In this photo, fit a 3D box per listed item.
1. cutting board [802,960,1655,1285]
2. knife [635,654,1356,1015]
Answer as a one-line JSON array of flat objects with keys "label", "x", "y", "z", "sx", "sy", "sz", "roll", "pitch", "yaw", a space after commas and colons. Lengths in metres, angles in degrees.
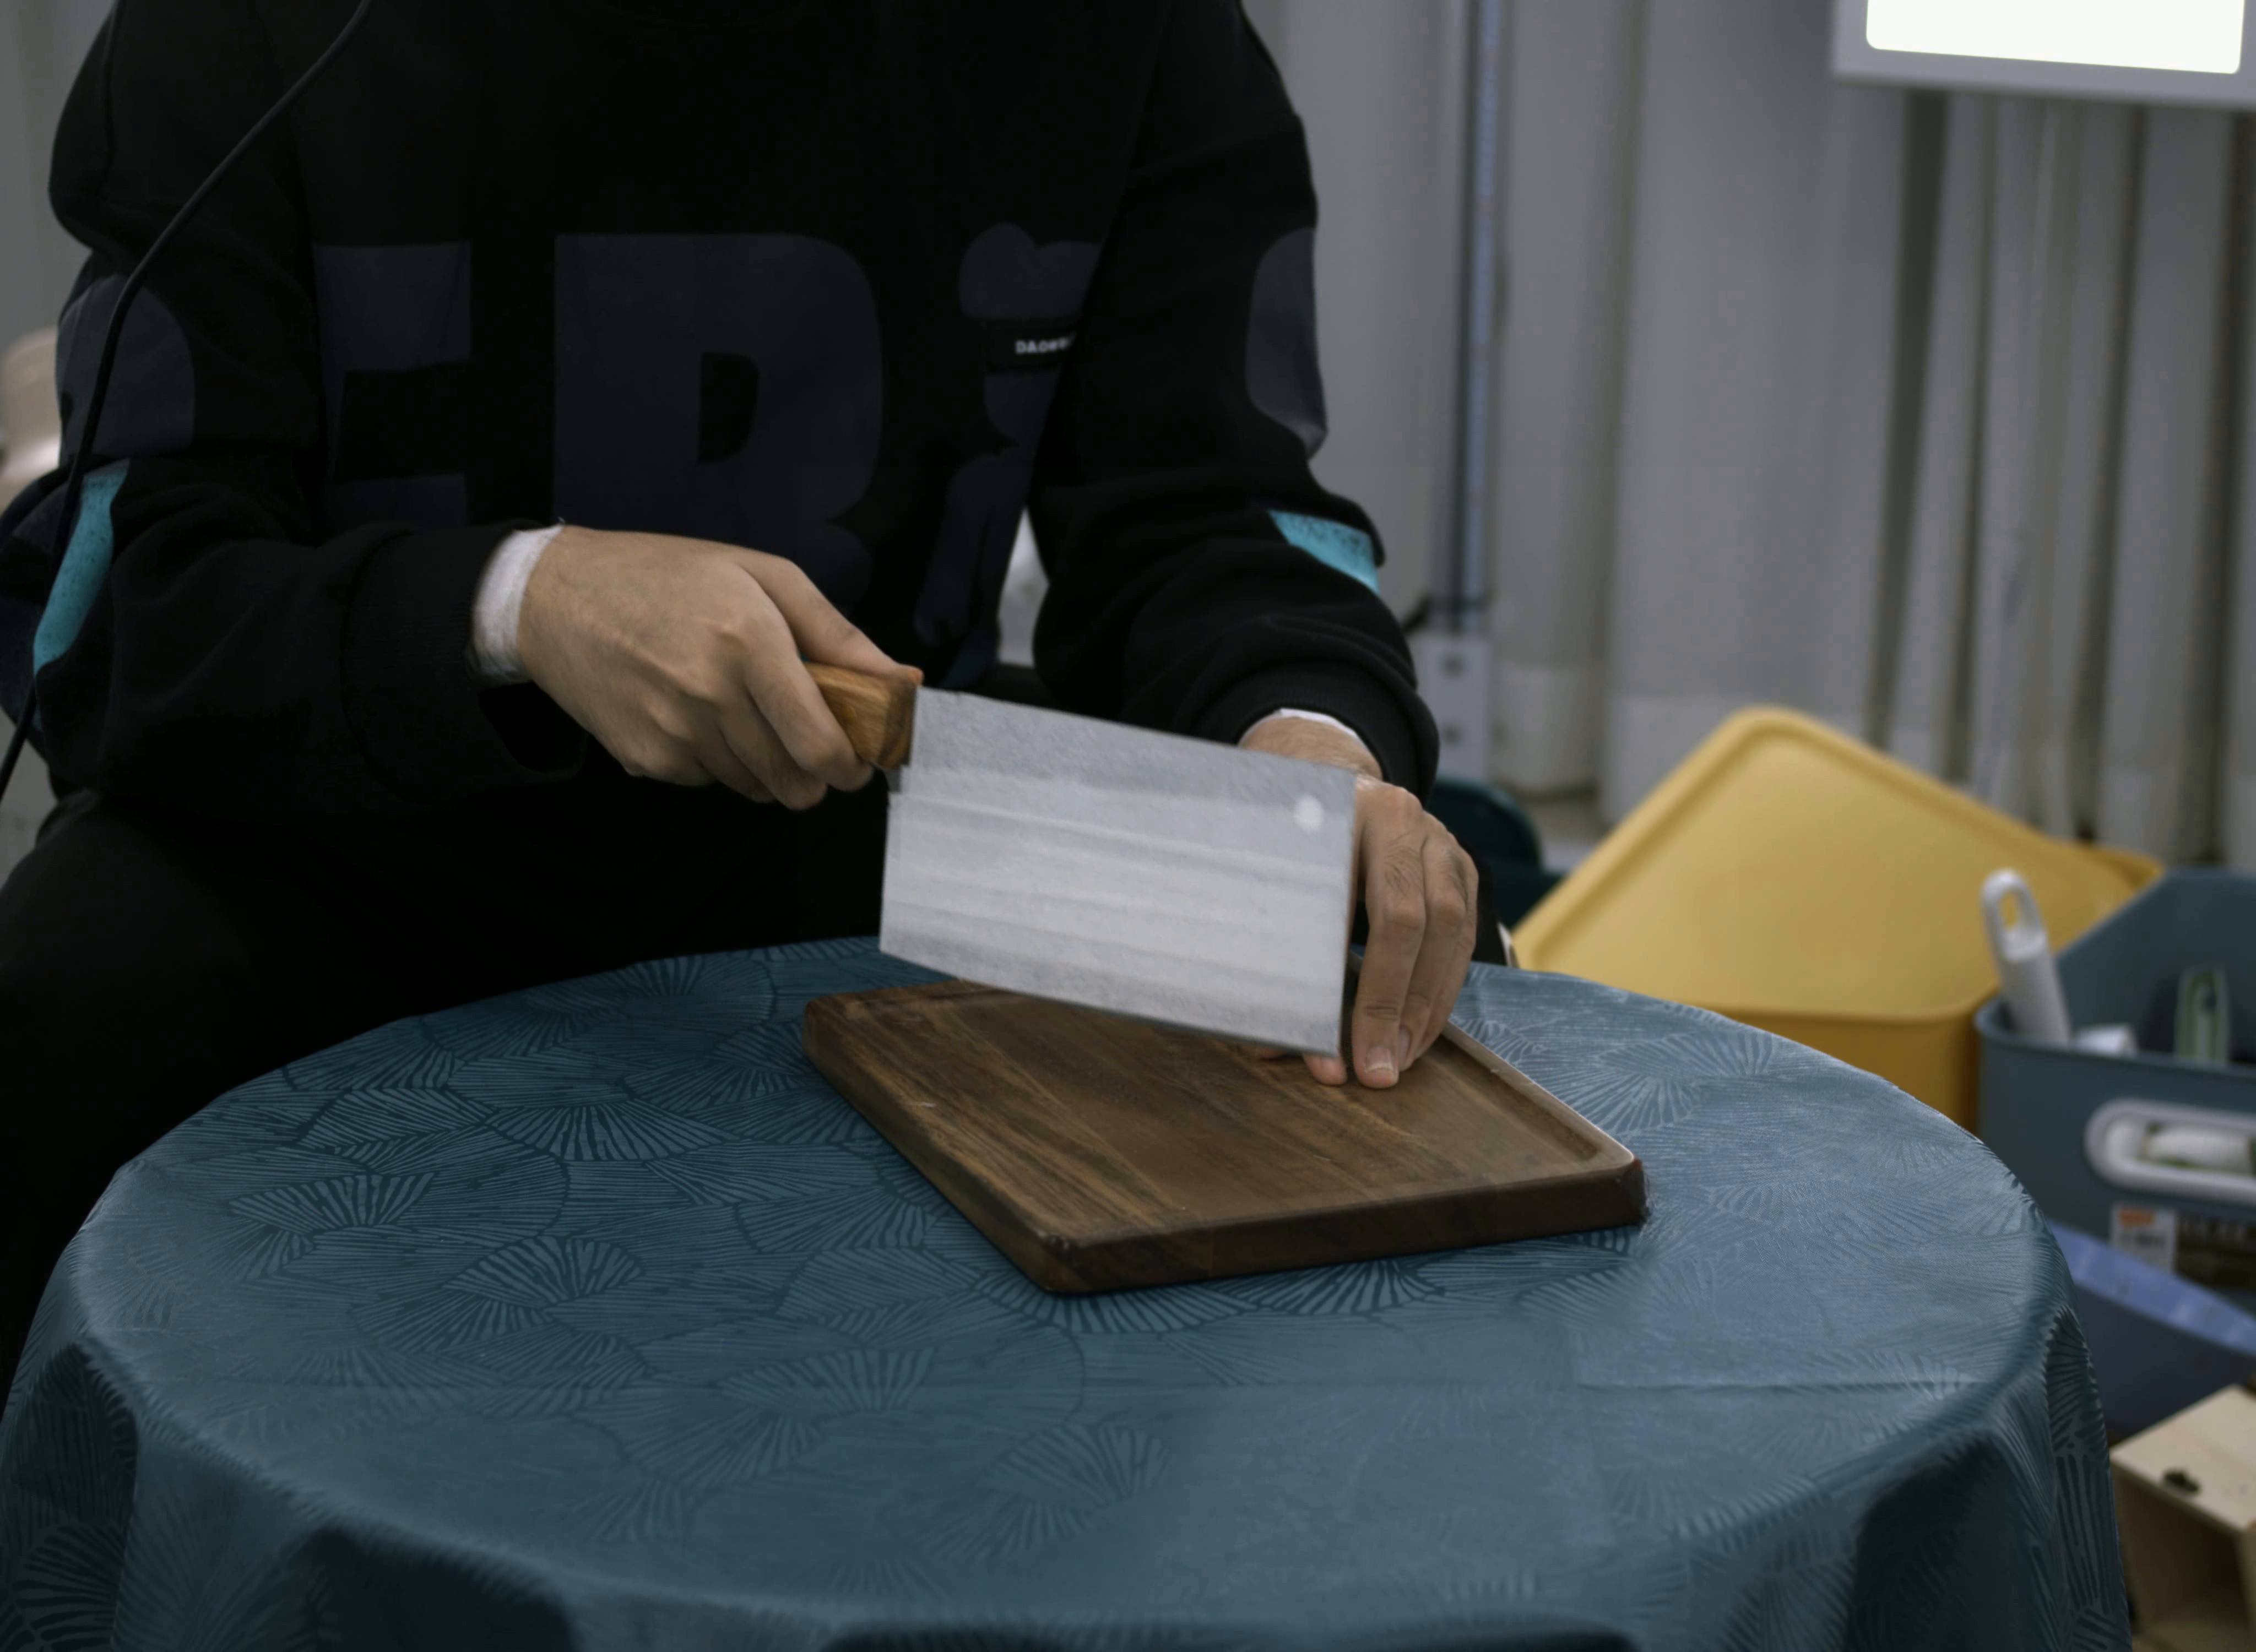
[{"label": "cutting board", "x": 0.009, "y": 0.080, "z": 1.715, "sx": 0.201, "sy": 0.023, "sz": 0.348, "roll": -4, "pitch": 14, "yaw": -21}, {"label": "knife", "x": -0.048, "y": 0.003, "z": 1.672, "sx": 0.302, "sy": 0.093, "sz": 0.021, "roll": 12, "pitch": 14, "yaw": 39}]
